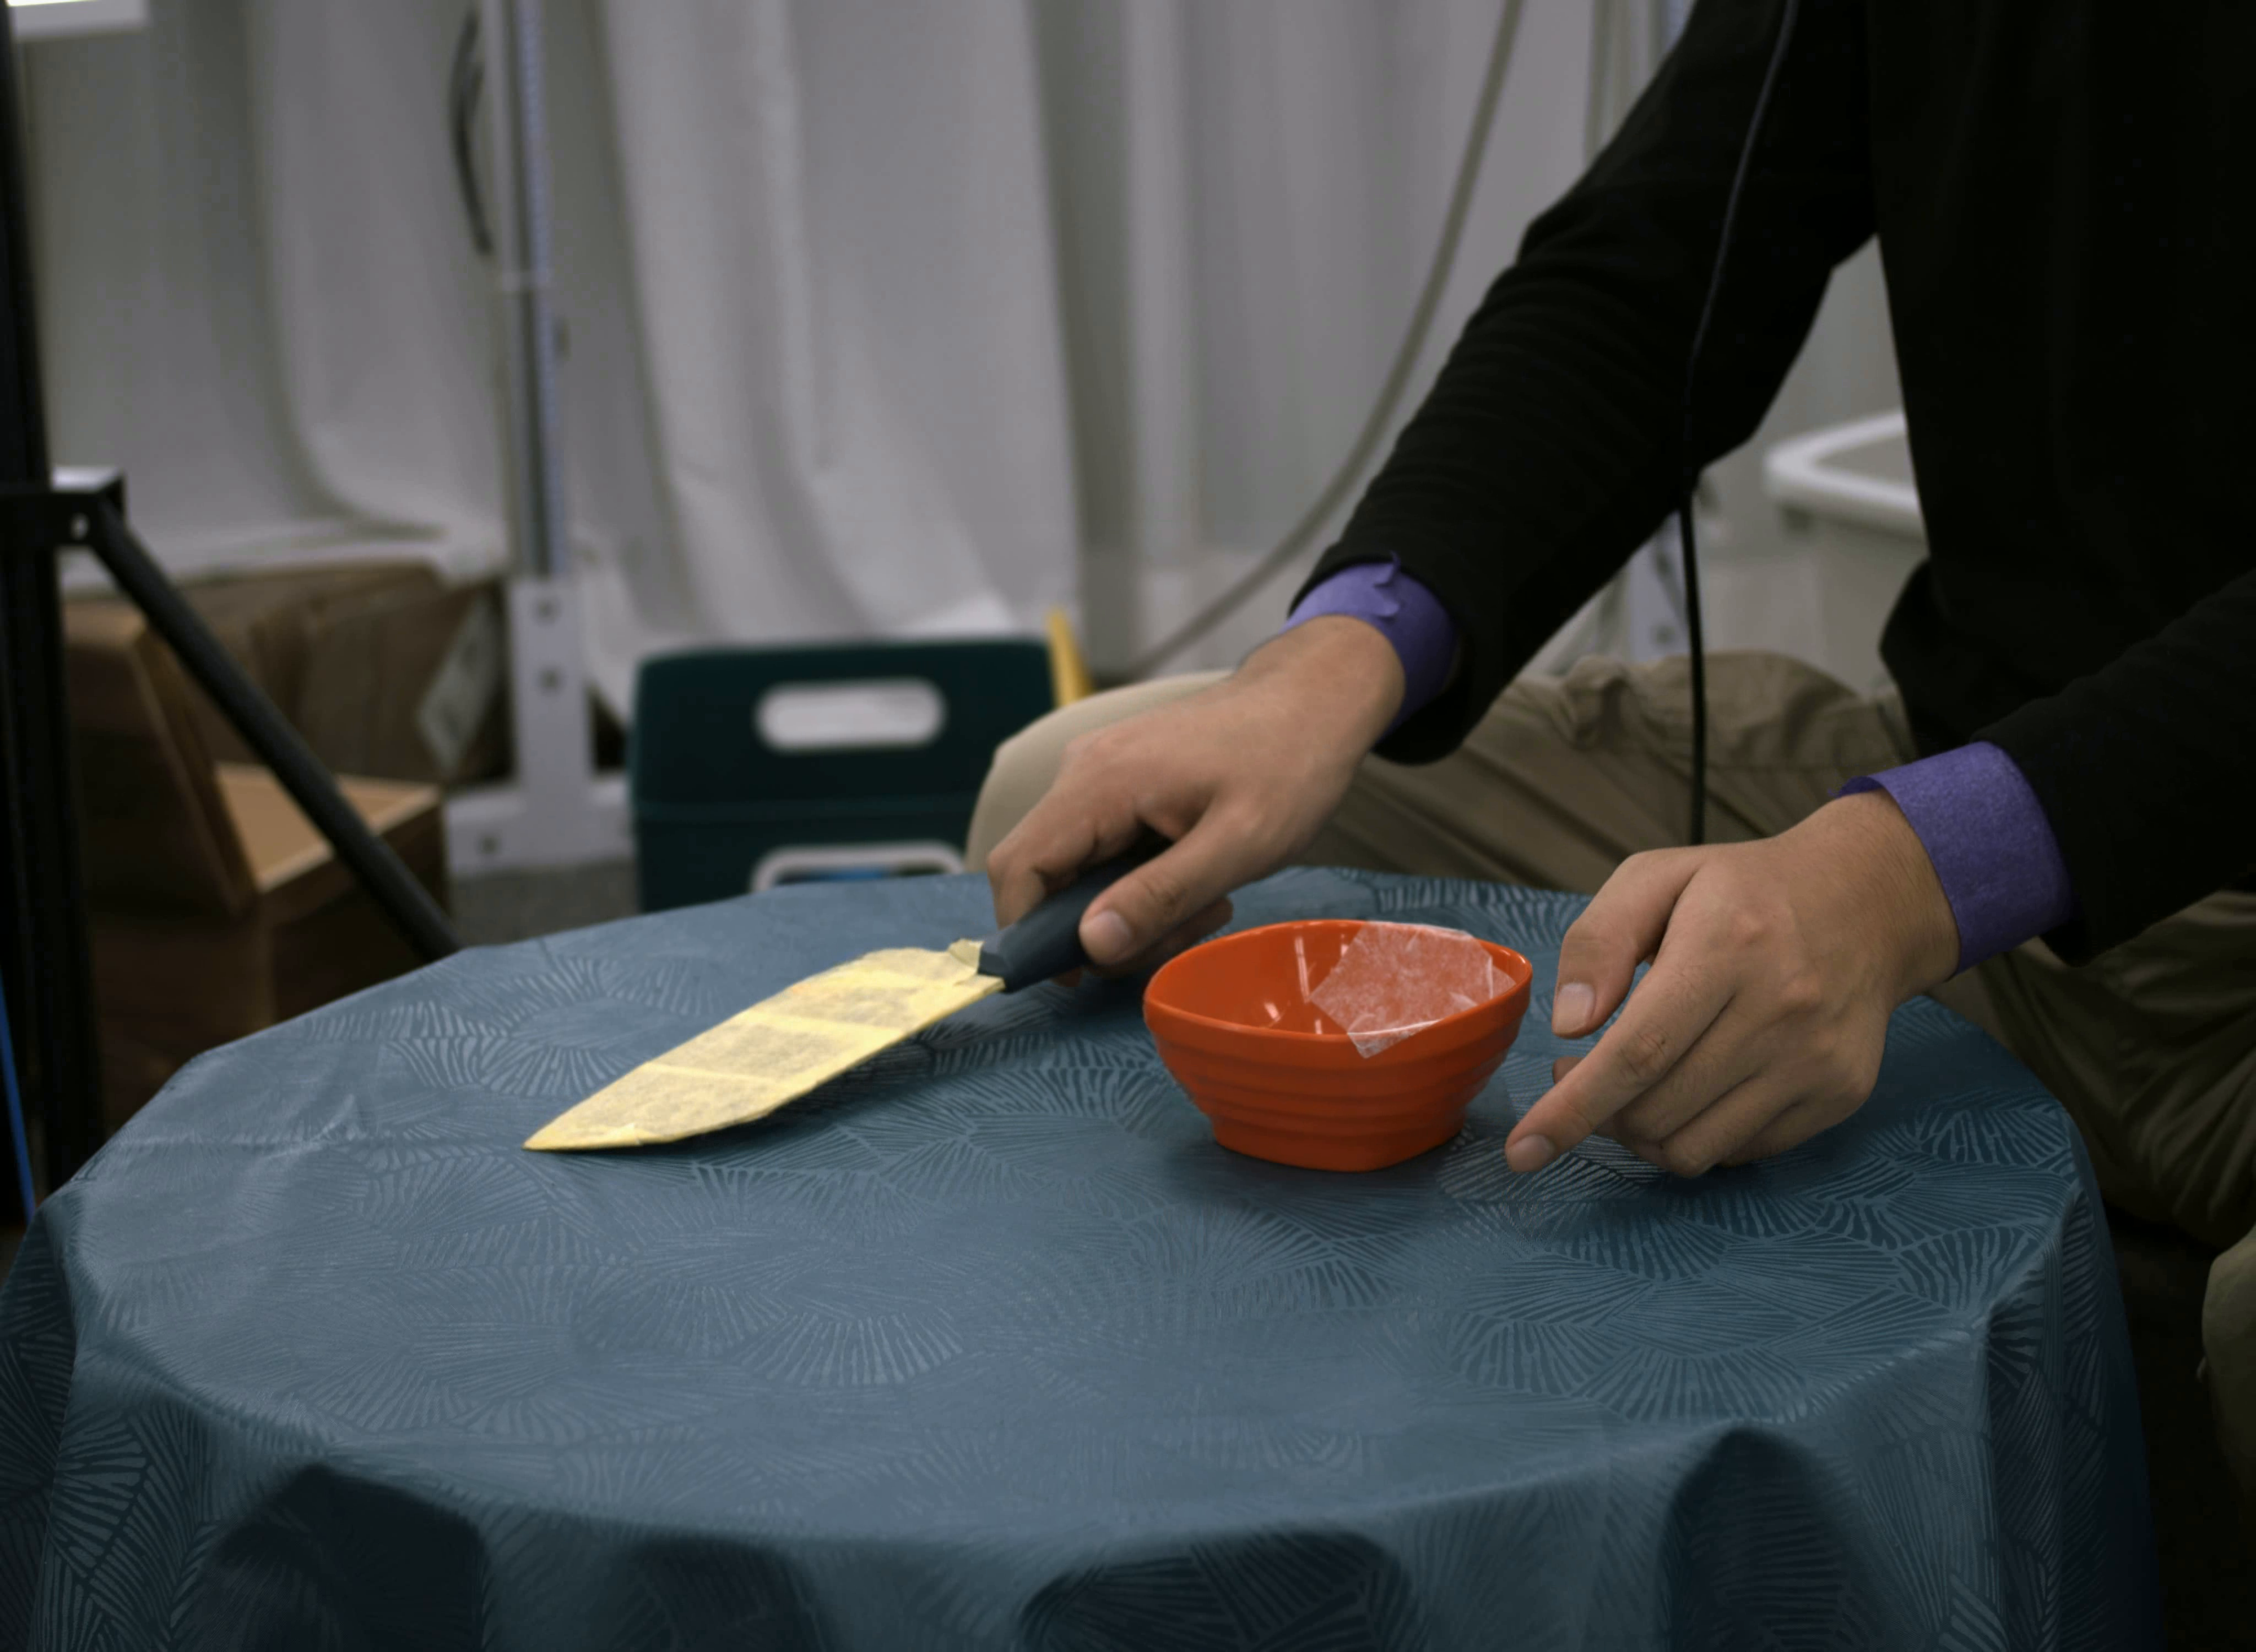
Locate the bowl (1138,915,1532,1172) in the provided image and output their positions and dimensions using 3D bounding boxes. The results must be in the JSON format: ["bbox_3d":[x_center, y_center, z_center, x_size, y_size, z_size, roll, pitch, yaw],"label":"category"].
[{"bbox_3d":[0.064,0.068,1.590,0.118,0.051,0.119,-5,16,0],"label":"bowl"}]

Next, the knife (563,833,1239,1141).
[{"bbox_3d":[-0.070,0.052,1.702,0.083,0.027,0.283,9,24,44],"label":"knife"}]
